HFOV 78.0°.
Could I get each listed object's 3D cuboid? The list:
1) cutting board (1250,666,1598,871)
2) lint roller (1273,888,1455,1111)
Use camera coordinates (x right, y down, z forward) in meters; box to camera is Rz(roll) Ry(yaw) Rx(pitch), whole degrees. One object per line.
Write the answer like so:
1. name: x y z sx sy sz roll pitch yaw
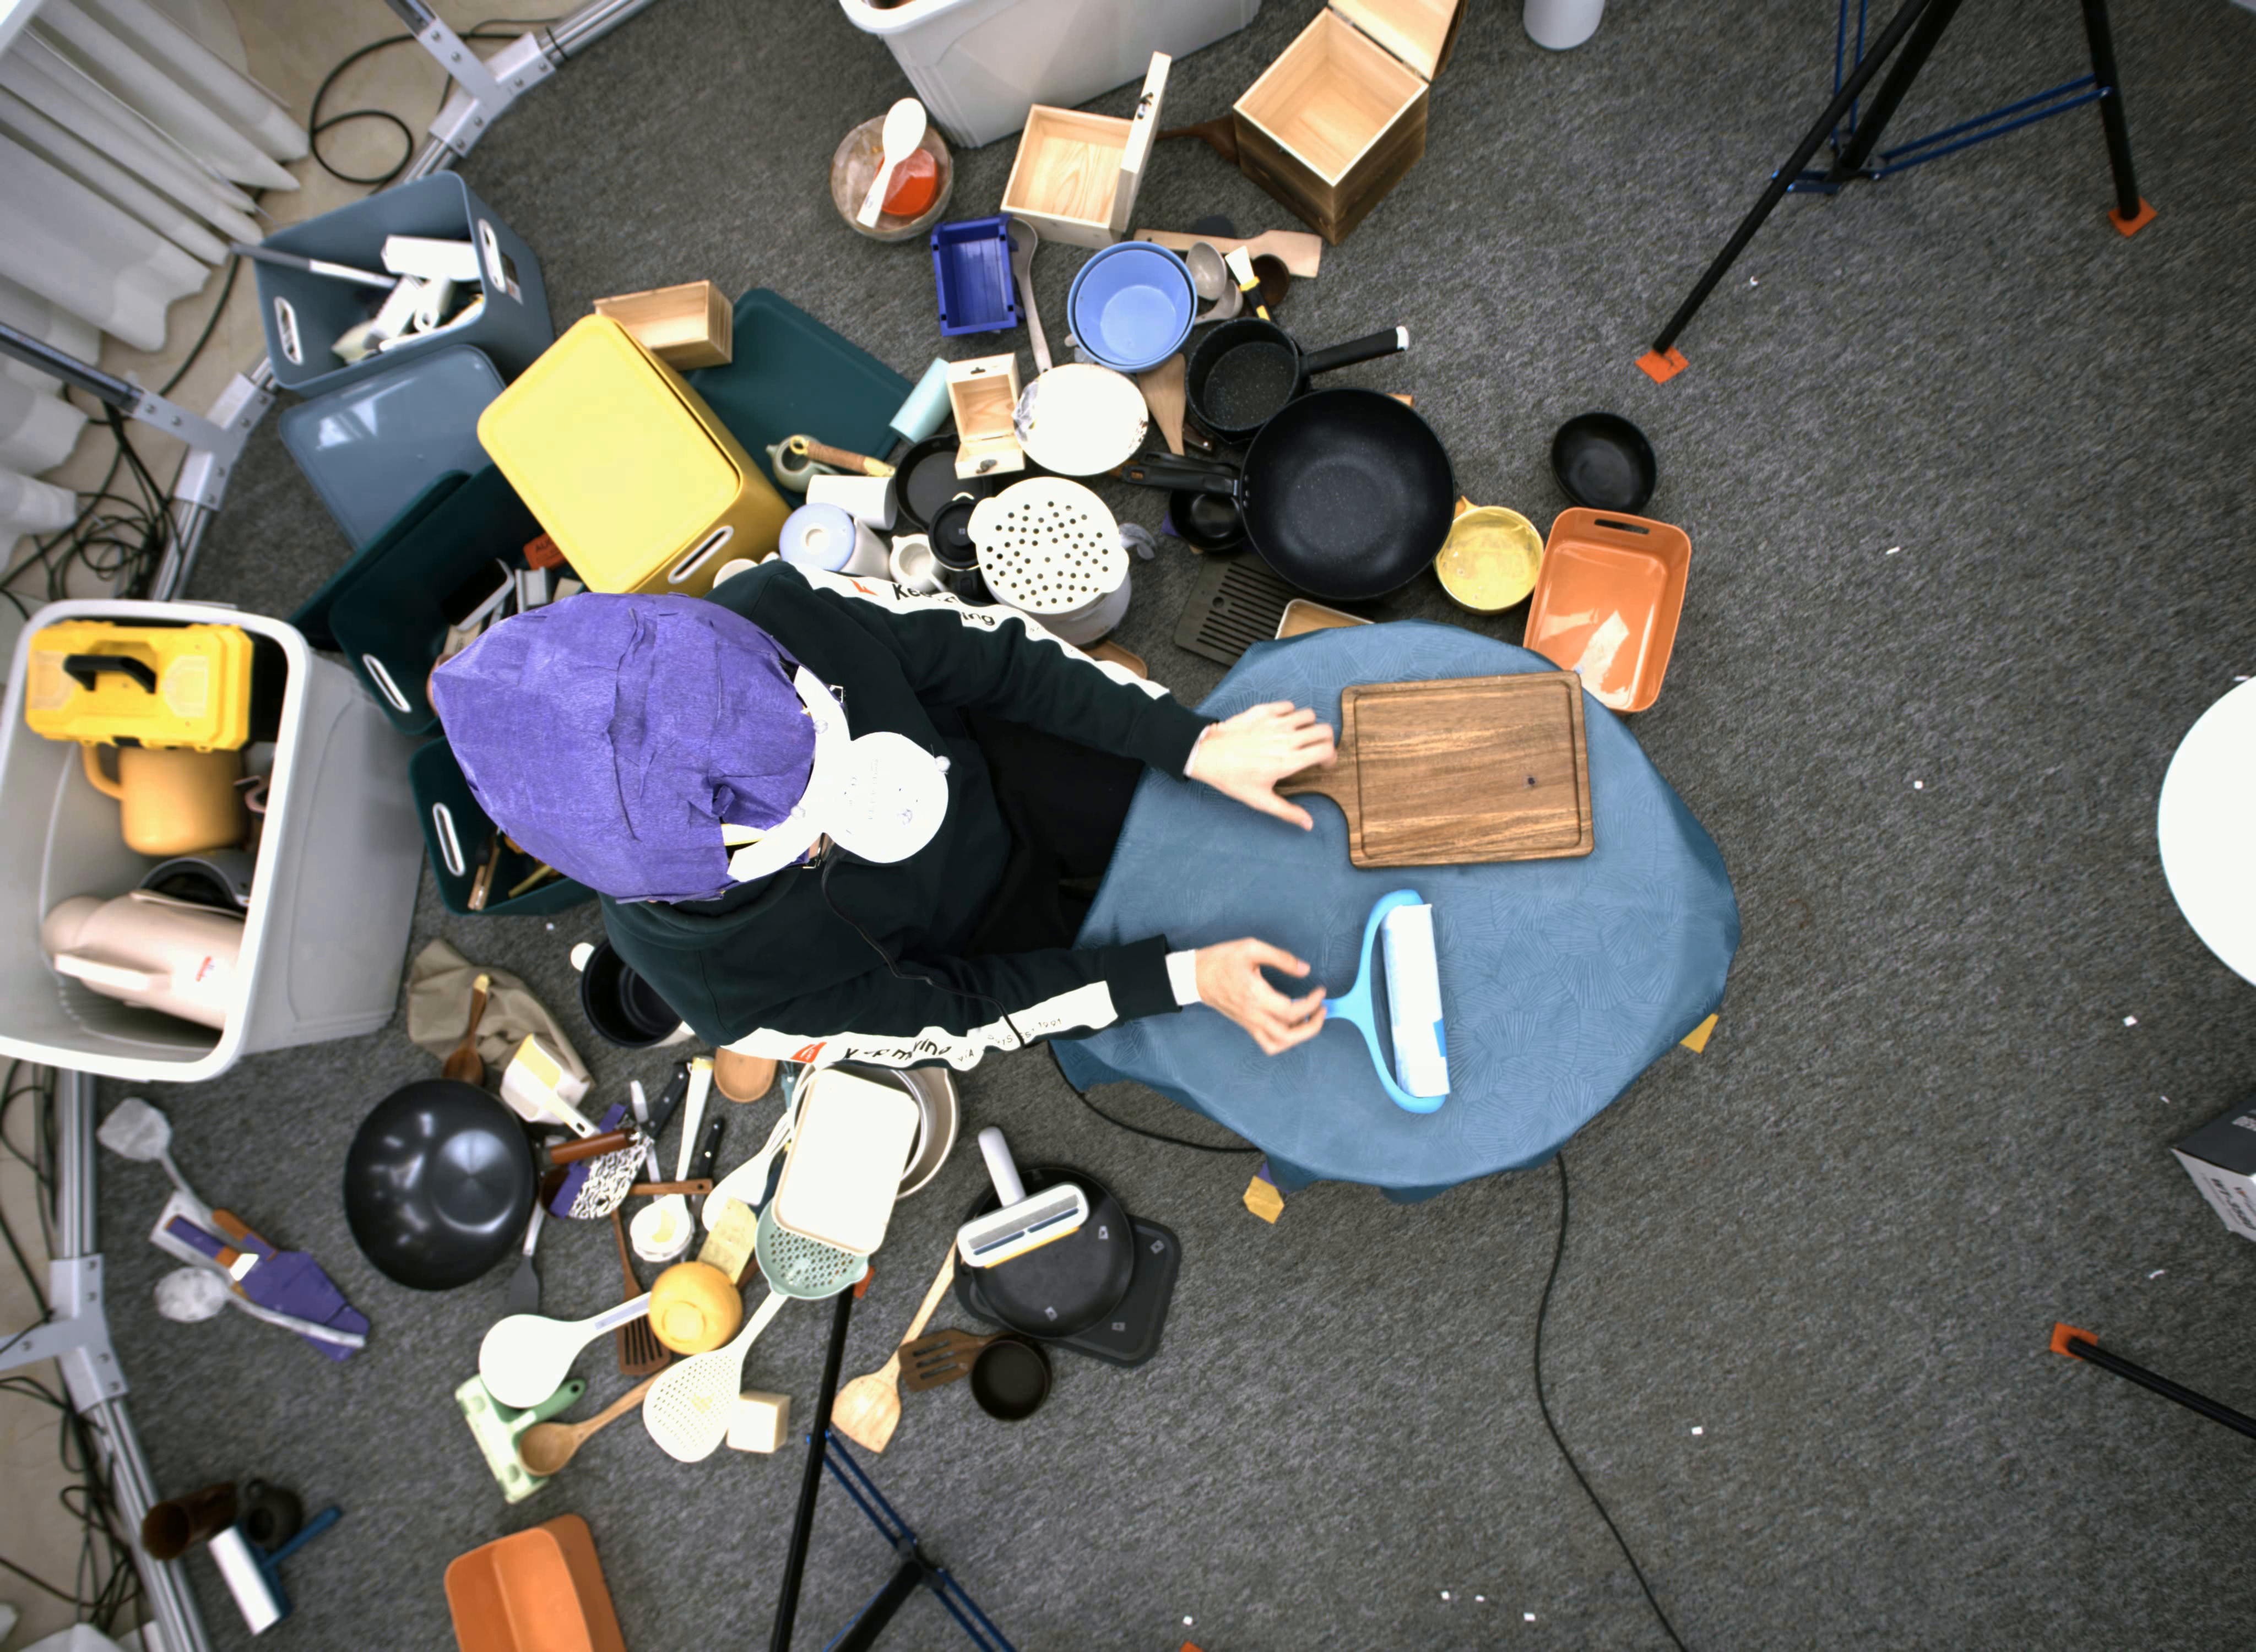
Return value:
1. cutting board: 0.304 -0.058 1.444 0.354 0.023 0.200 -4 86 10
2. lint roller: 0.238 0.186 1.426 0.181 0.068 0.228 -9 87 9
